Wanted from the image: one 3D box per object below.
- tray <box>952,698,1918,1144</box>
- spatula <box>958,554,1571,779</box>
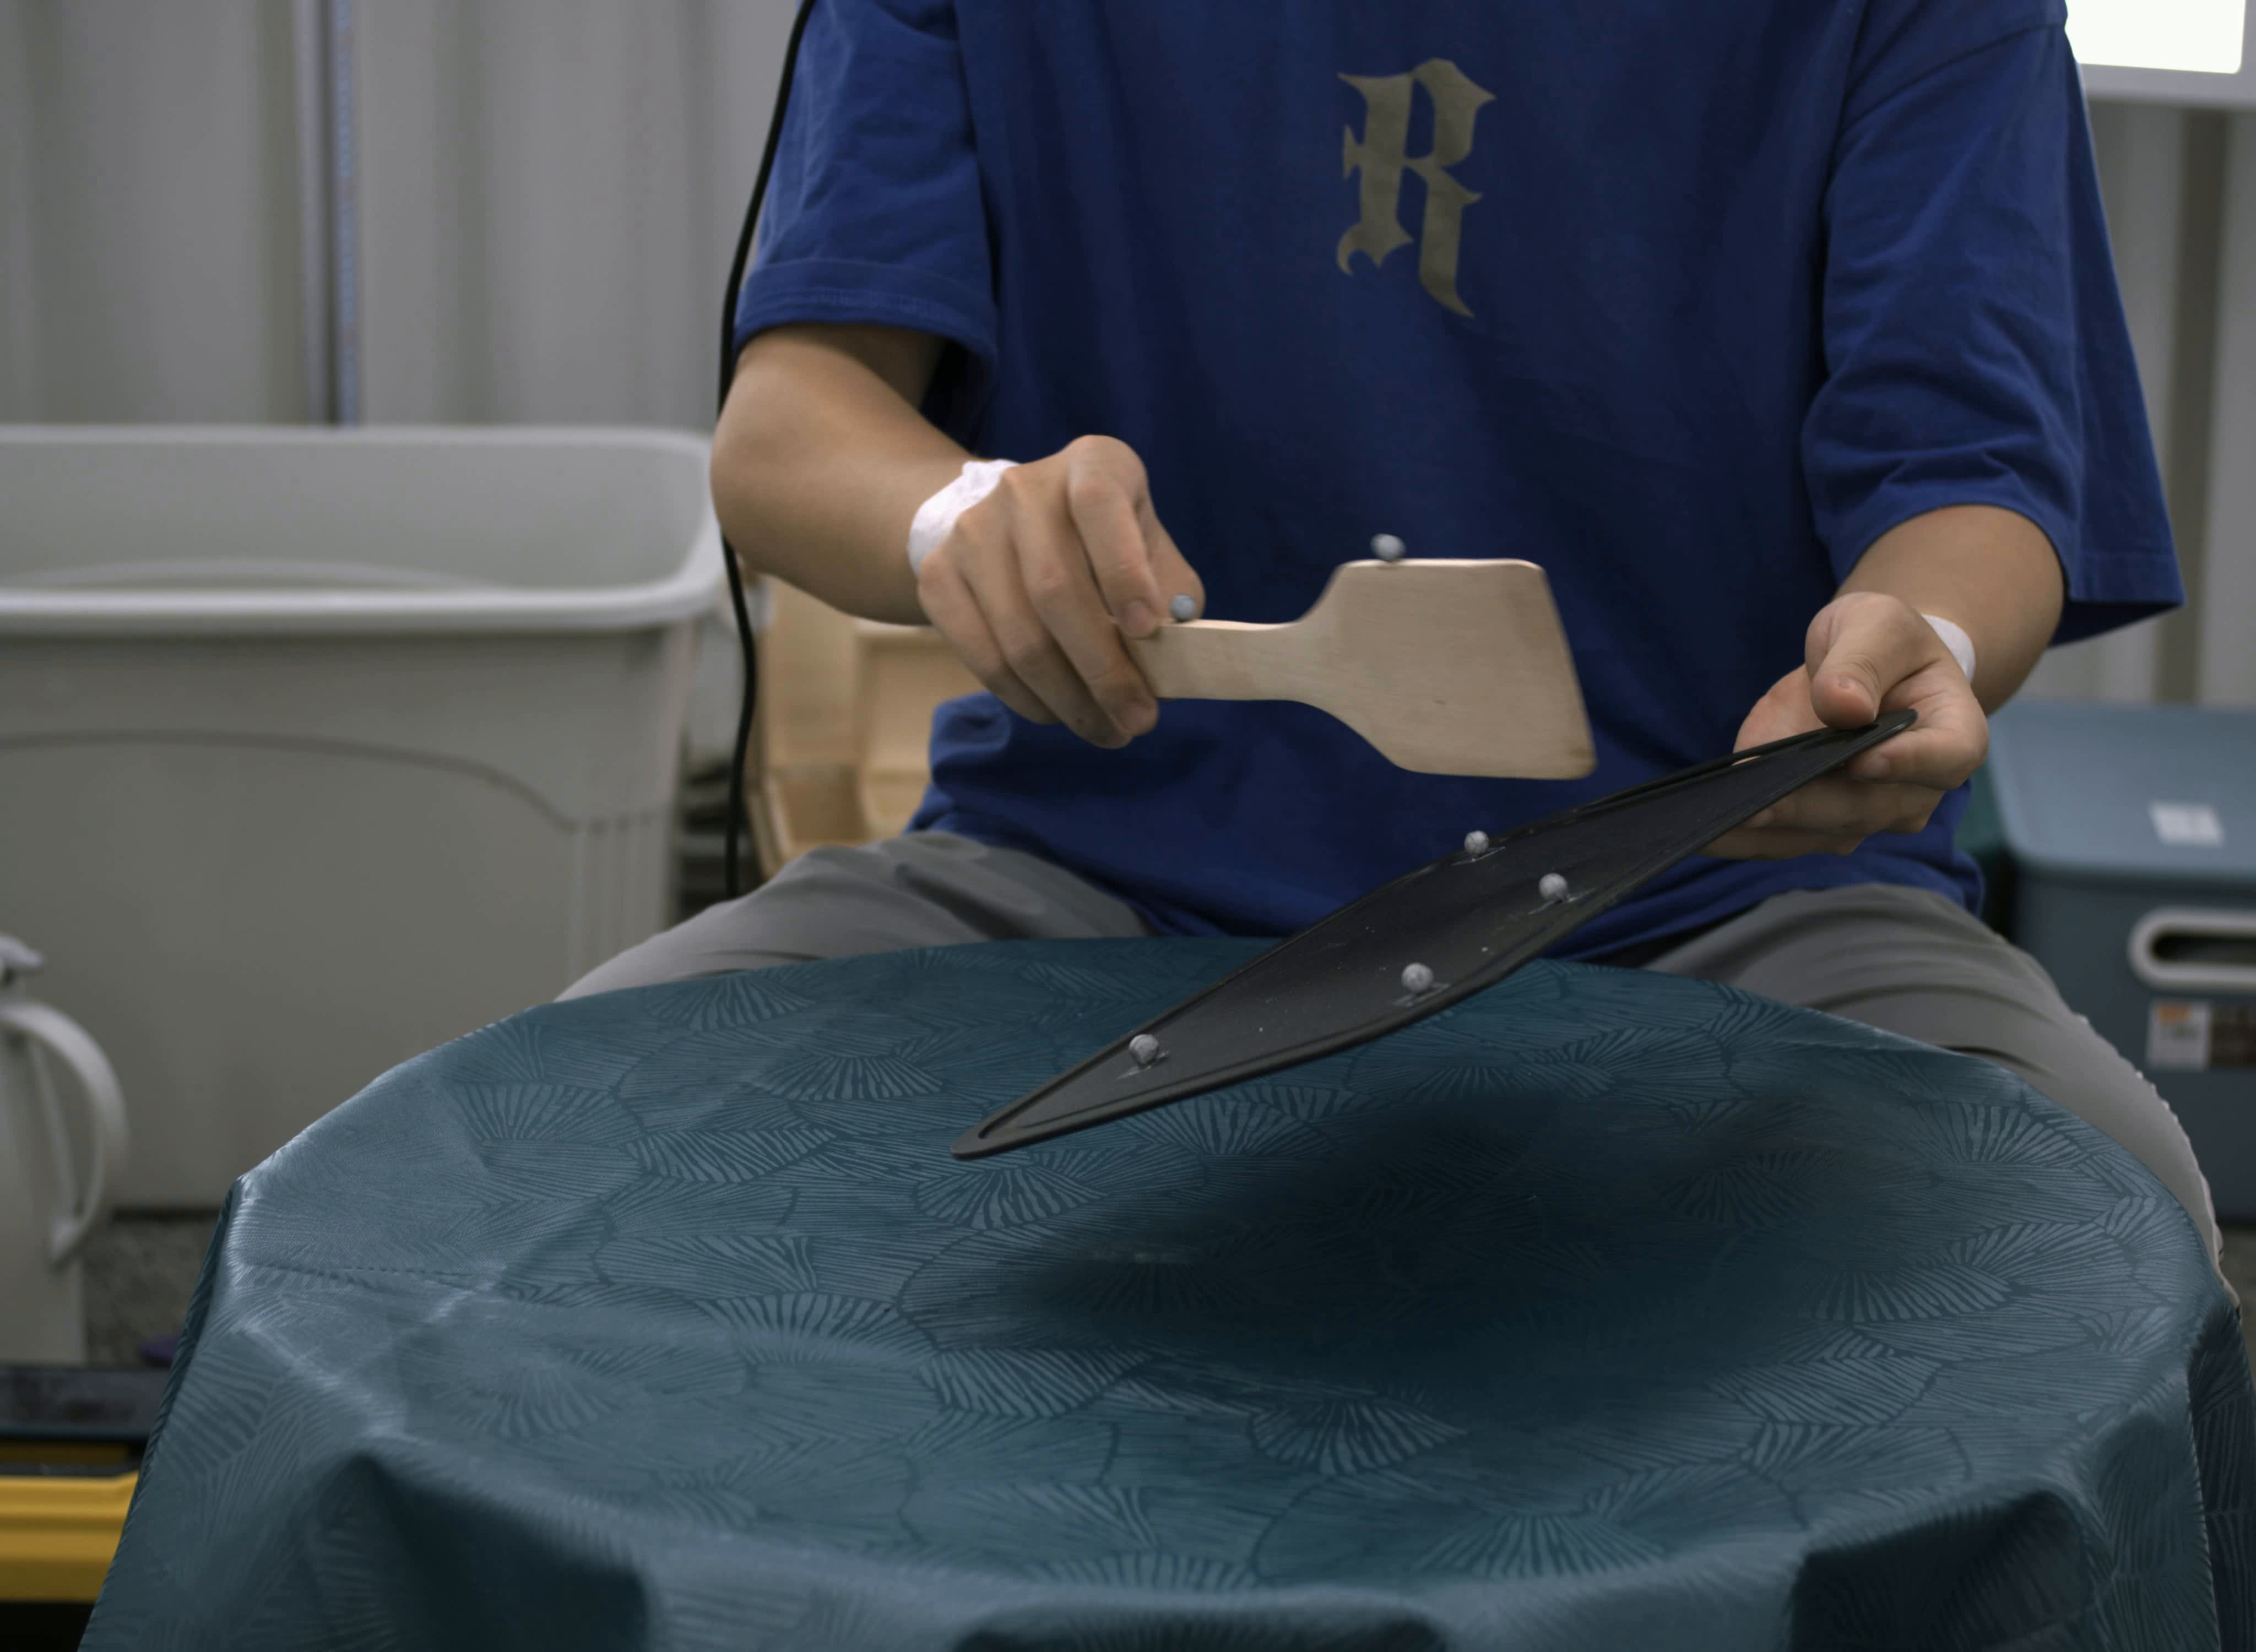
[{"bbox_3d":[0.099,0.023,1.573,0.209,0.010,0.326,-19,6,41],"label":"tray"},{"bbox_3d":[0.033,-0.053,1.666,0.010,0.073,0.289,-30,20,-33],"label":"spatula"}]
